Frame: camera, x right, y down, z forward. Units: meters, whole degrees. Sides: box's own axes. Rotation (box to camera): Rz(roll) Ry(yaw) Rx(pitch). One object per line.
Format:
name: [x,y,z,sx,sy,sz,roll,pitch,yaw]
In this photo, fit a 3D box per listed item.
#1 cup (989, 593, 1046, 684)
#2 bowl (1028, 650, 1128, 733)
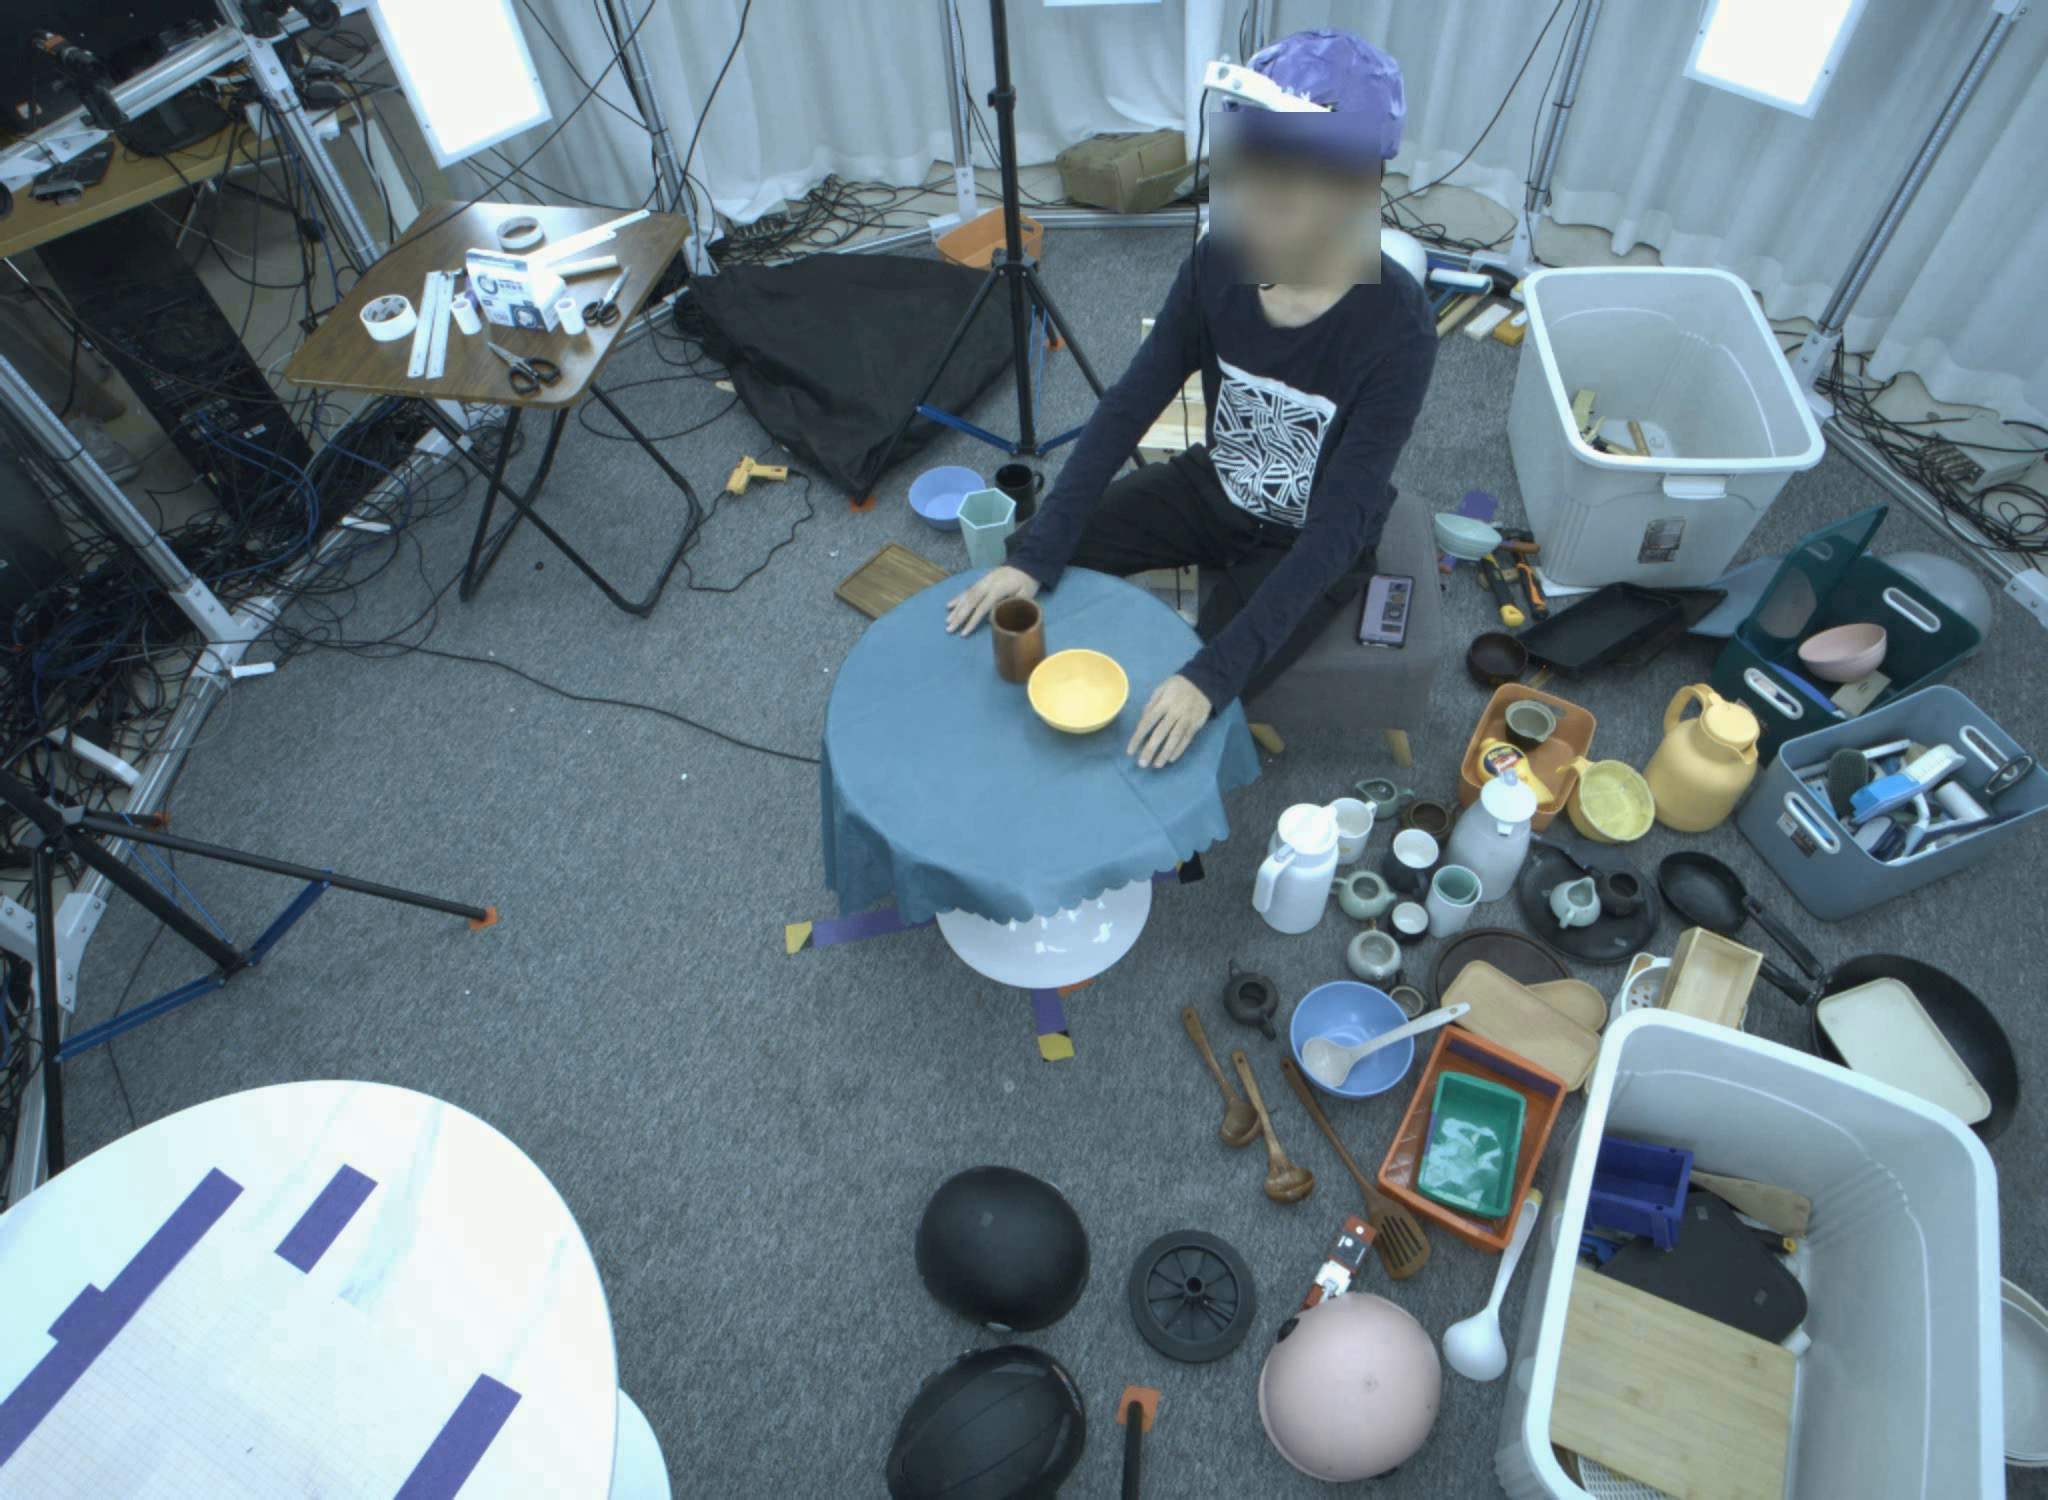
cup: [-0.009,-0.166,1.827,0.088,0.119,0.087,0,55,1]
bowl: [0.079,-0.074,1.795,0.145,0.061,0.144,0,54,1]
